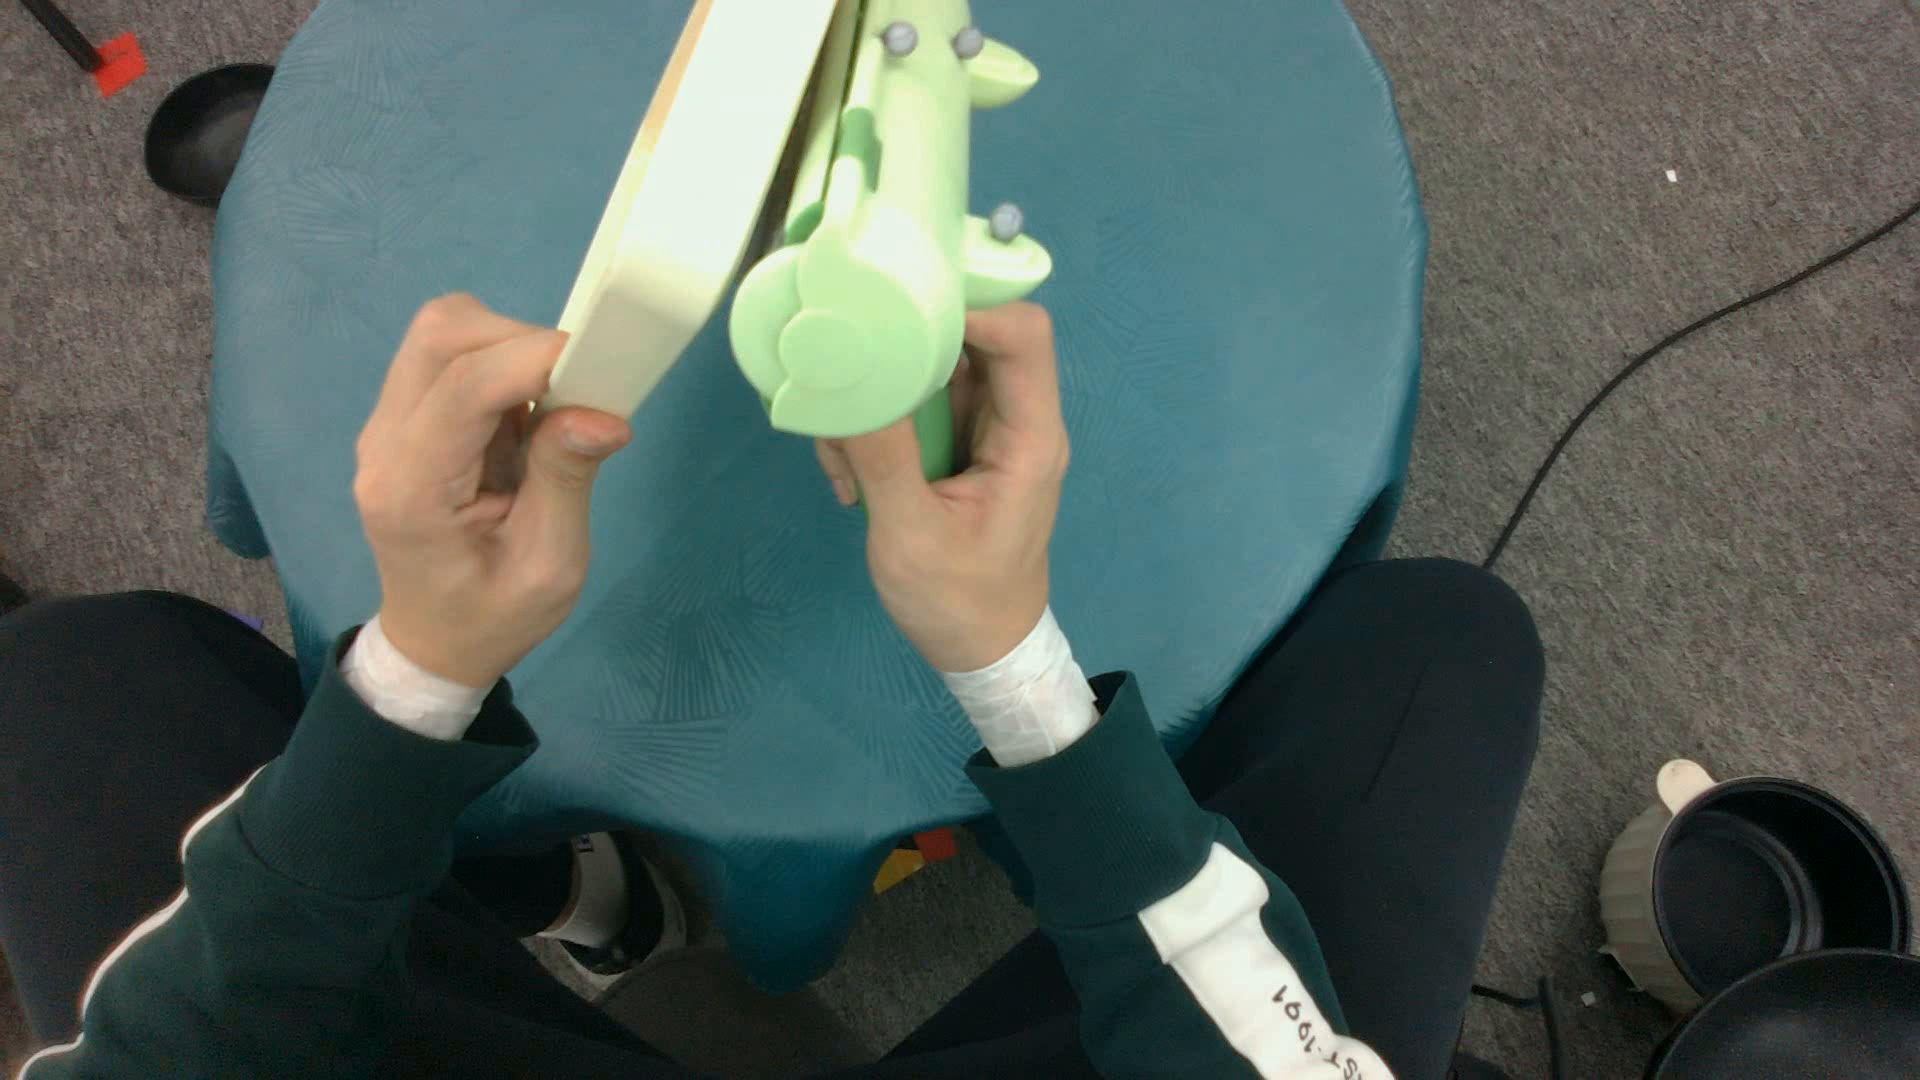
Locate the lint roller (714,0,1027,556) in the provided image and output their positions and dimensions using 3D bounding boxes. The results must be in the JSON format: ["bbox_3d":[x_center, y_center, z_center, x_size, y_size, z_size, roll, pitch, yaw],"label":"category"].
[{"bbox_3d":[-0.015,-0.070,0.422,0.082,0.182,0.199,-12,40,7],"label":"lint roller"}]

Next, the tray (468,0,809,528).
[{"bbox_3d":[-0.106,-0.119,0.462,0.027,0.299,0.192,21,71,-20],"label":"tray"}]
